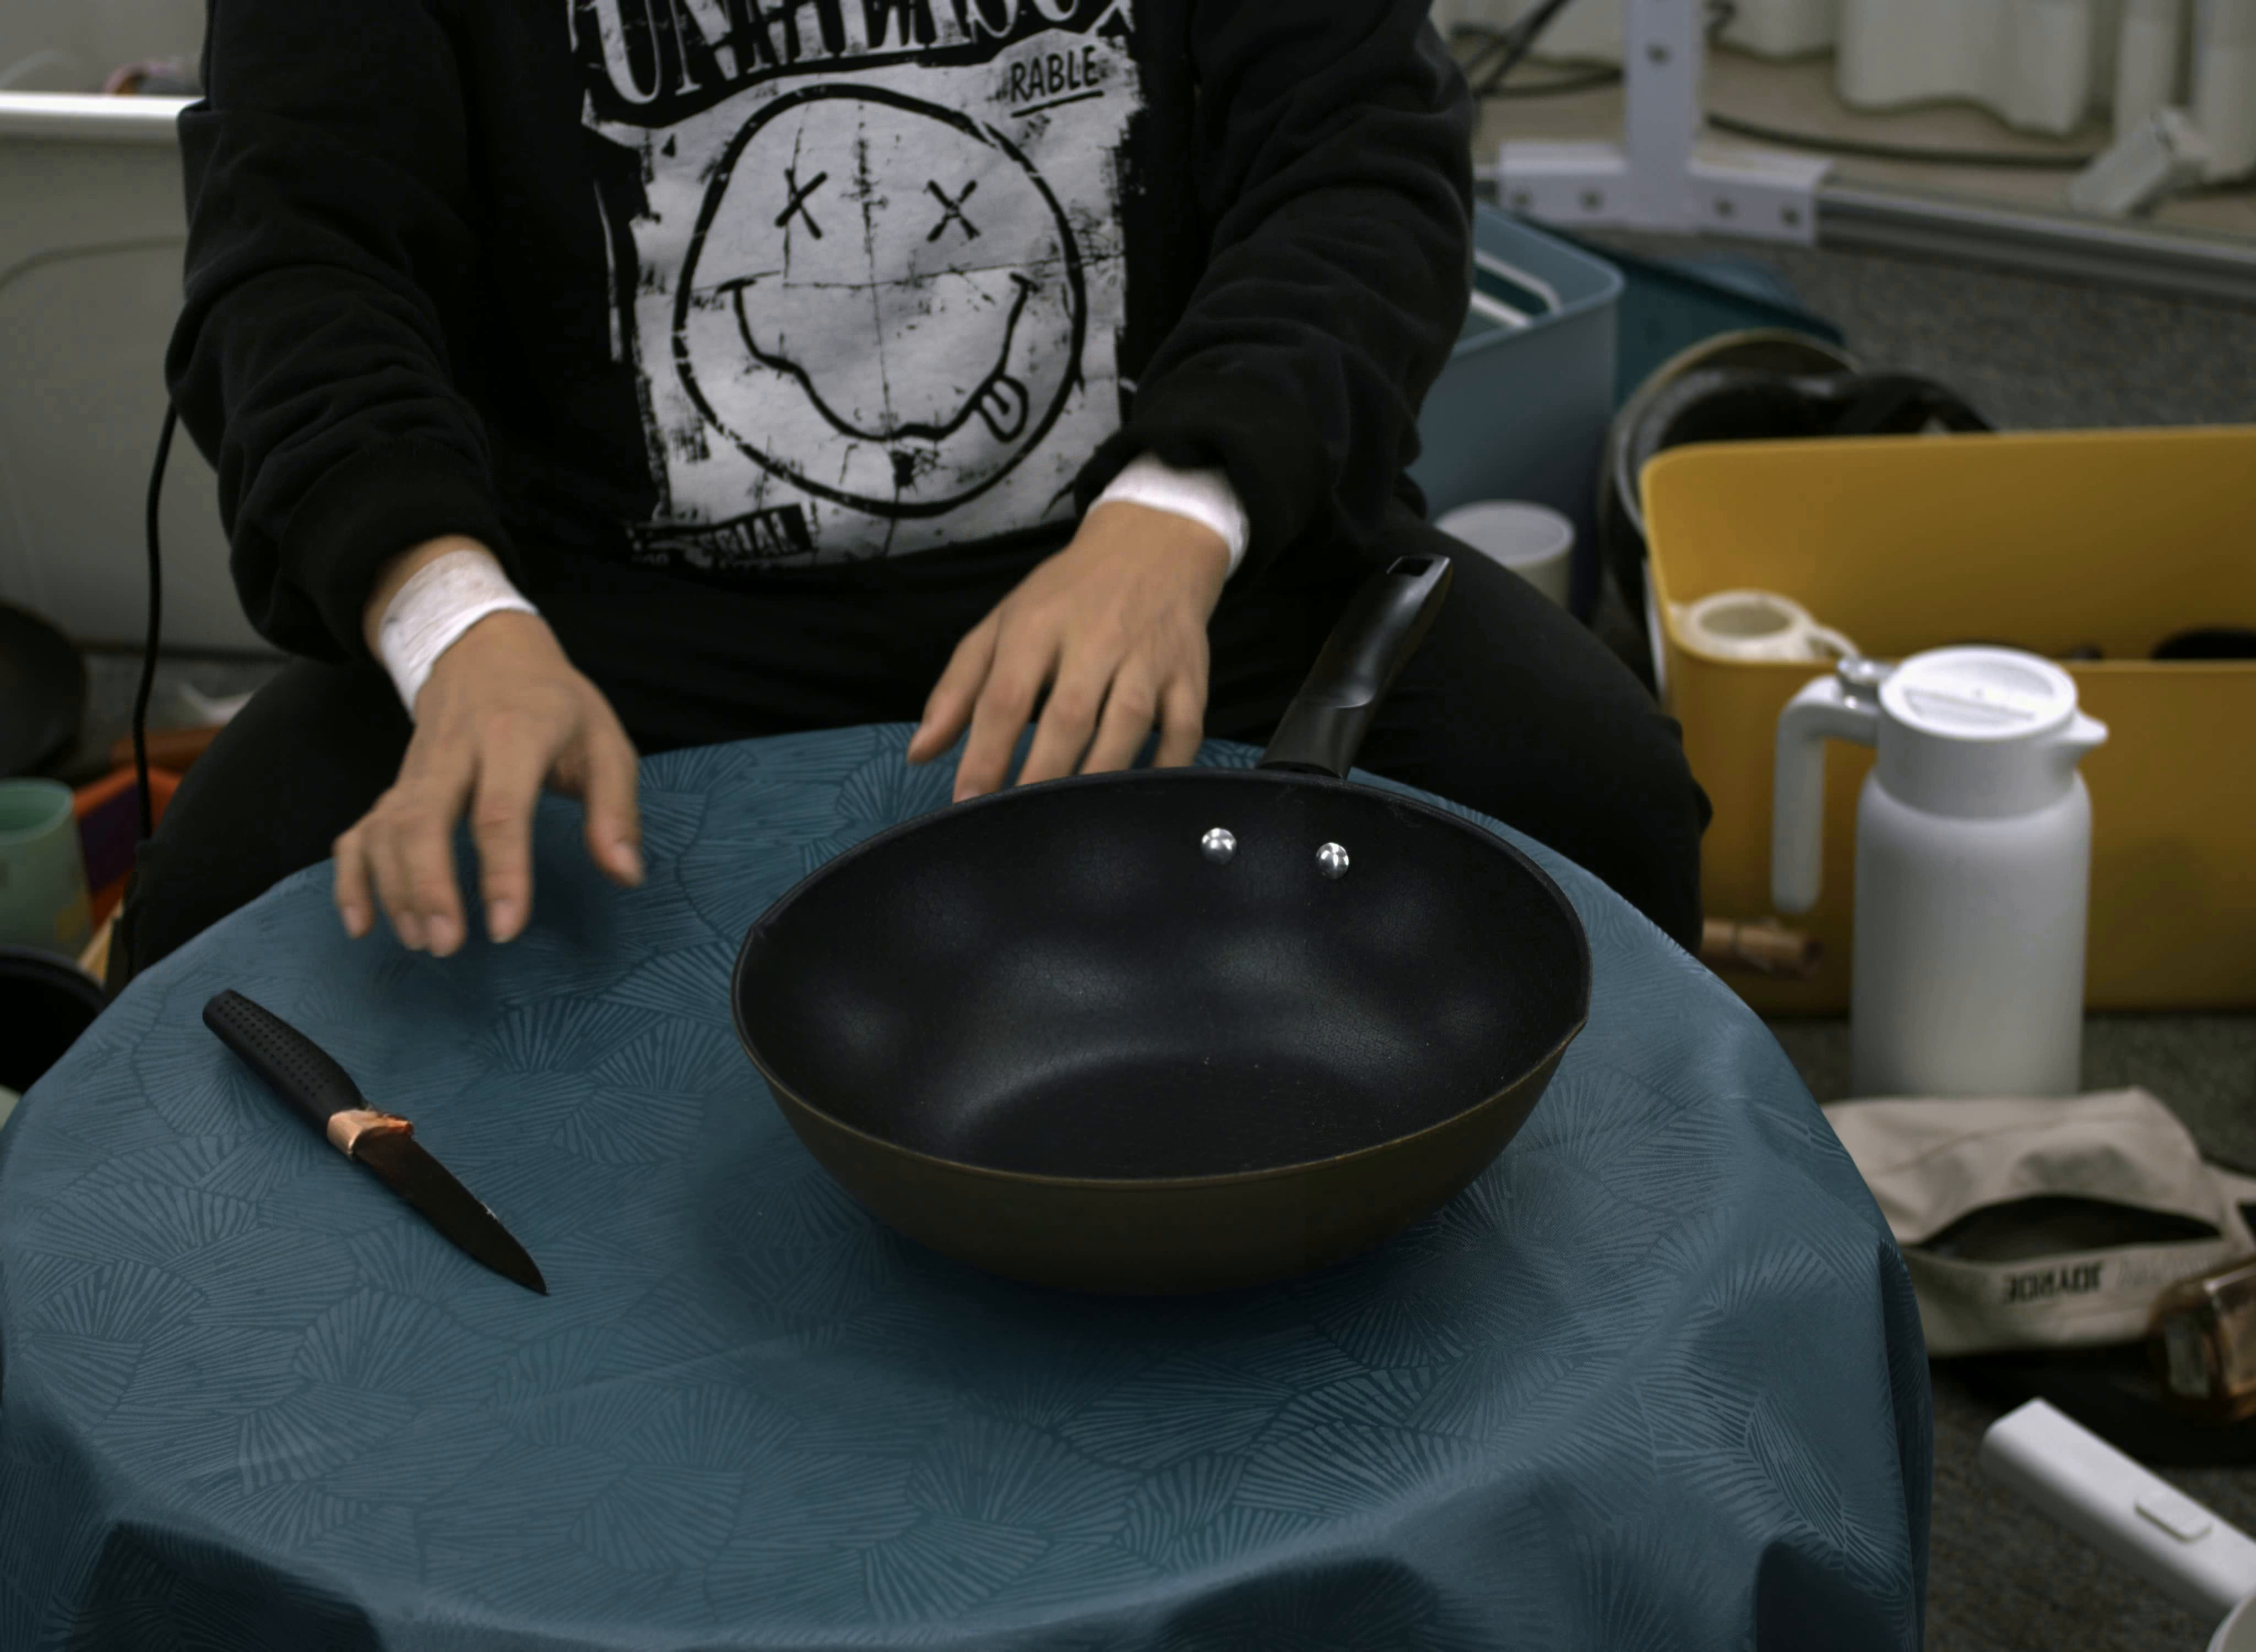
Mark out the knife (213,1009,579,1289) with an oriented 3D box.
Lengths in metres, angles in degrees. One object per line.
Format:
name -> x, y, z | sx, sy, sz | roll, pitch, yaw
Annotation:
knife -> -0.250, 0.110, 1.897 | 0.026, 0.017, 0.226 | -8, 26, -36

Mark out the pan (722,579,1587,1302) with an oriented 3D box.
pan -> 0.039, 0.040, 1.927 | 0.286, 0.086, 0.471 | 6, 27, 17
